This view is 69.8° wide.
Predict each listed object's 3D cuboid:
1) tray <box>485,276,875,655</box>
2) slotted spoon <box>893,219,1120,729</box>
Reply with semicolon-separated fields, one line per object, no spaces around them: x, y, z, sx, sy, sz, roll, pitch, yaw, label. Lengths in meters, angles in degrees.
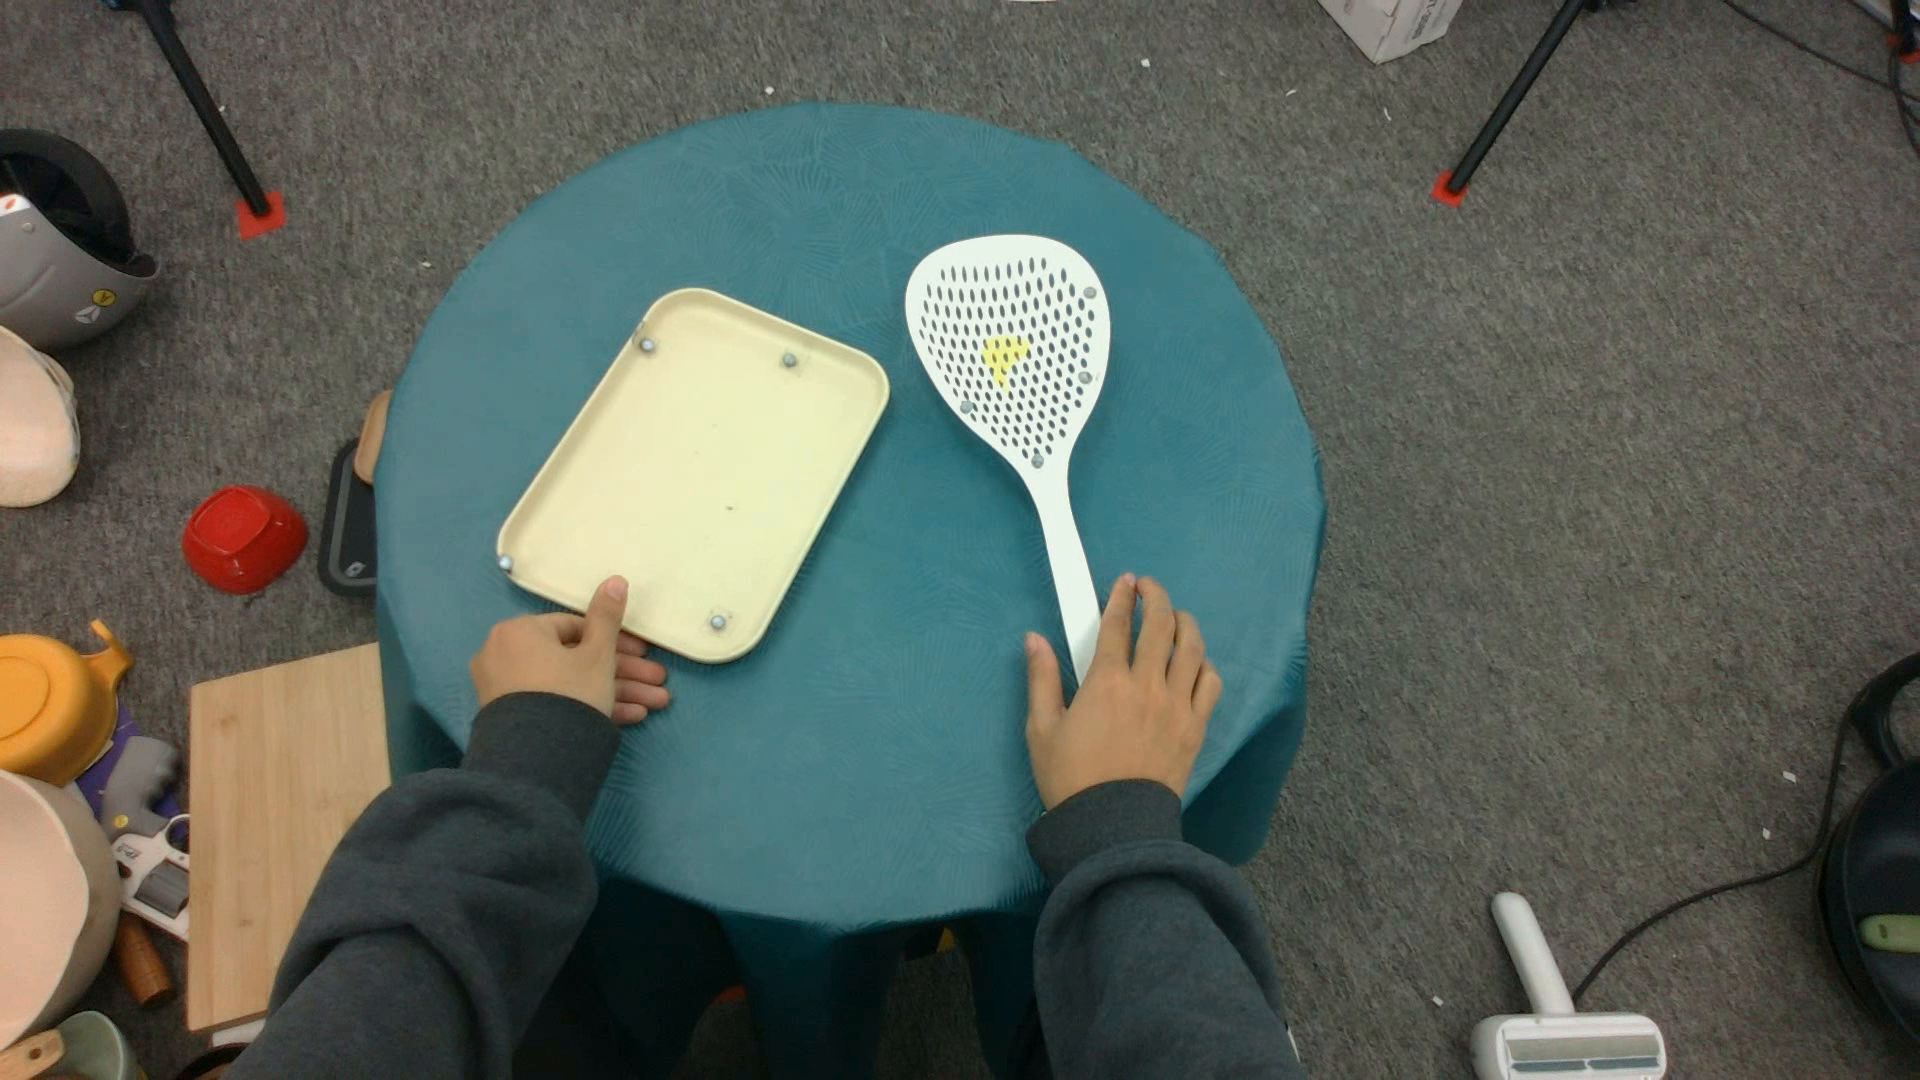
-0.168;-0.052;0.857;0.171;0.017;0.241;23;63;4;tray
0.046;-0.051;0.870;0.137;0.050;0.349;-8;65;-14;slotted spoon
